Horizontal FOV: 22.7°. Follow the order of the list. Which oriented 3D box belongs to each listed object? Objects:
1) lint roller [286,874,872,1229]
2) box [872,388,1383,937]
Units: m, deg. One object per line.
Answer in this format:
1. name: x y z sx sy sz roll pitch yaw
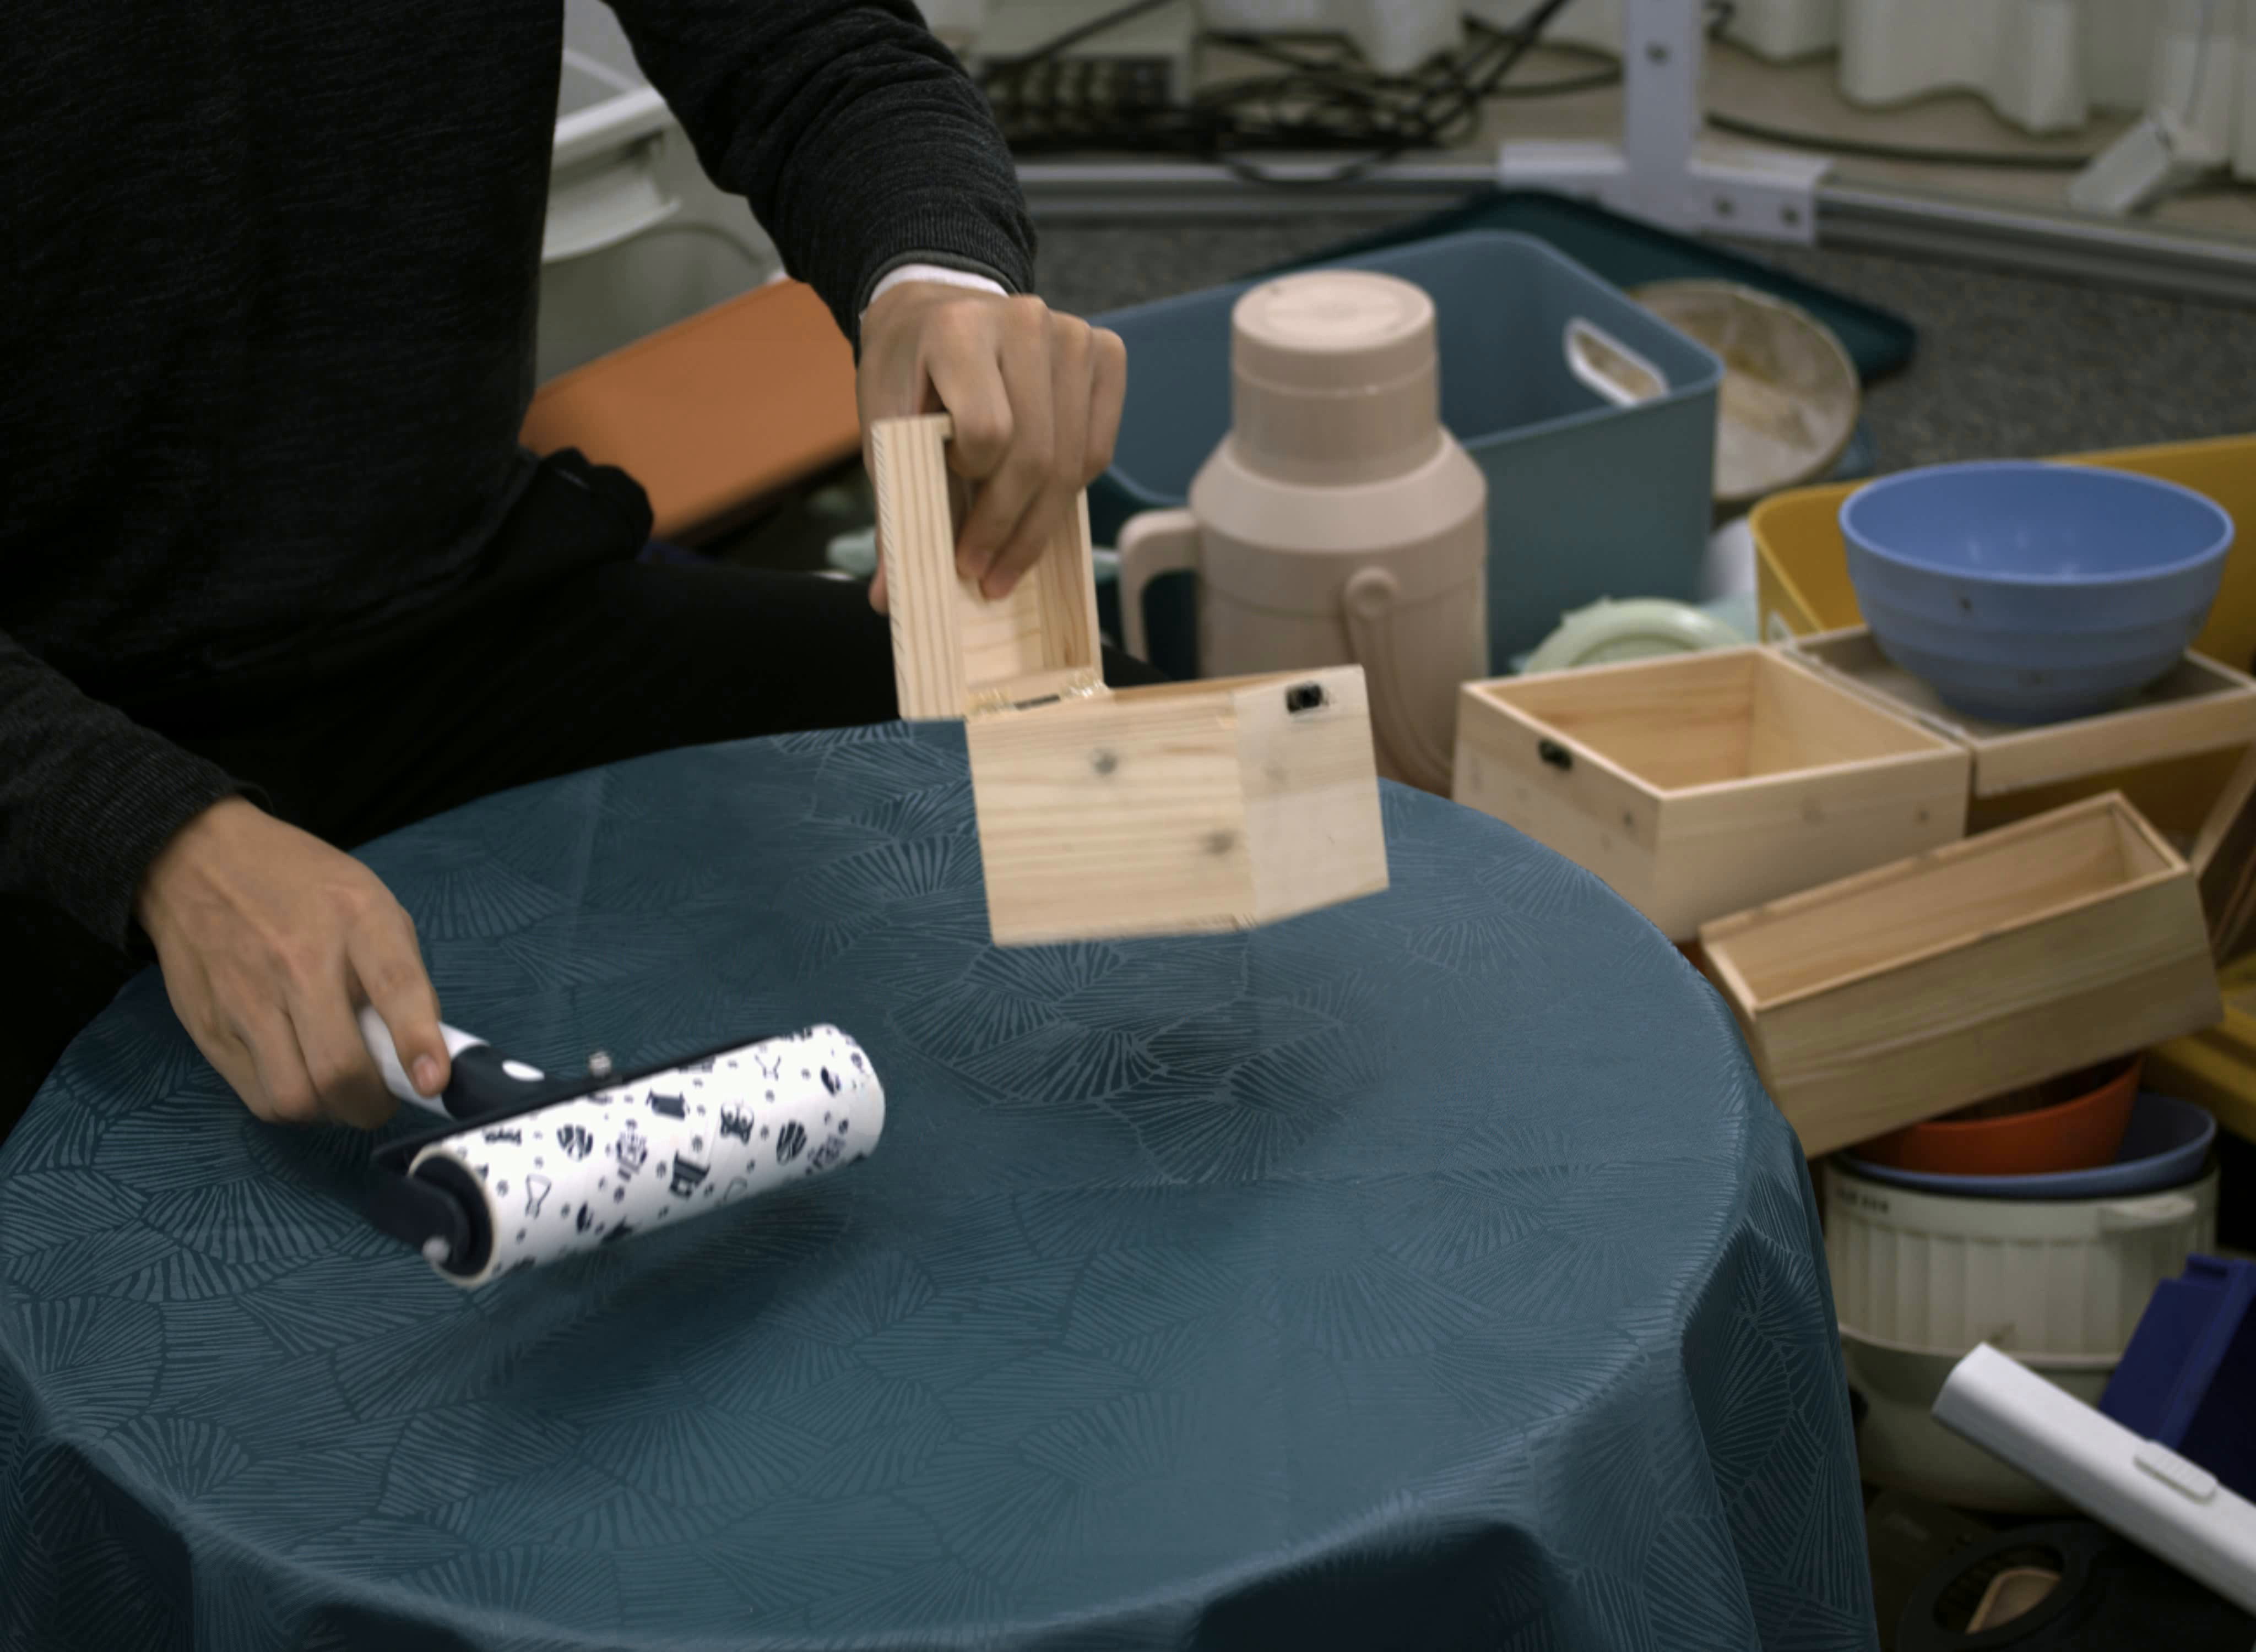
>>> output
1. lint roller: -0.220 0.061 1.876 0.177 0.050 0.247 -7 25 -34
2. box: 0.002 -0.061 1.901 0.132 0.185 0.103 -6 1 28
